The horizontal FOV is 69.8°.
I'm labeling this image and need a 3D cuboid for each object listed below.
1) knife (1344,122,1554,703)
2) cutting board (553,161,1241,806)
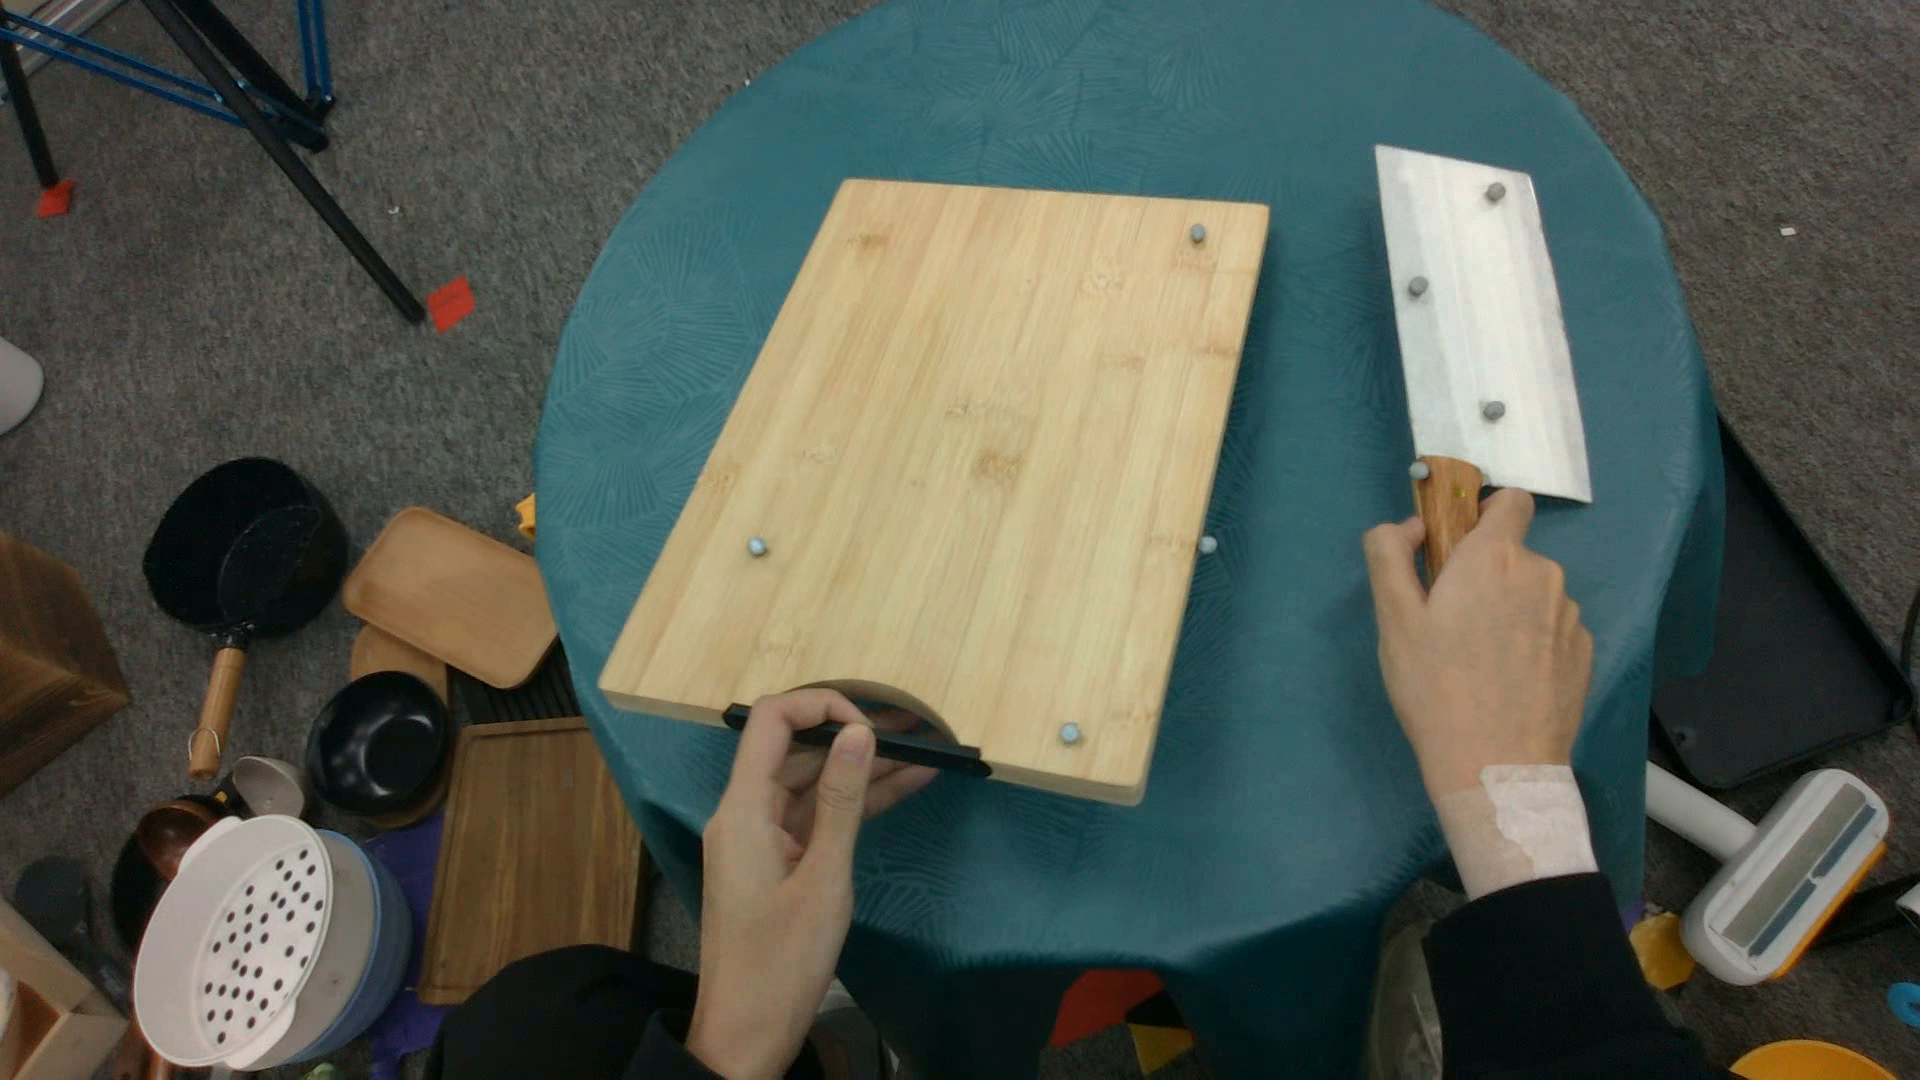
[{"bbox_3d":[0.233,-0.069,0.641,0.093,0.021,0.307,9,64,-18],"label":"knife"},{"bbox_3d":[-0.013,-0.053,0.661,0.250,0.023,0.350,7,56,14],"label":"cutting board"}]
